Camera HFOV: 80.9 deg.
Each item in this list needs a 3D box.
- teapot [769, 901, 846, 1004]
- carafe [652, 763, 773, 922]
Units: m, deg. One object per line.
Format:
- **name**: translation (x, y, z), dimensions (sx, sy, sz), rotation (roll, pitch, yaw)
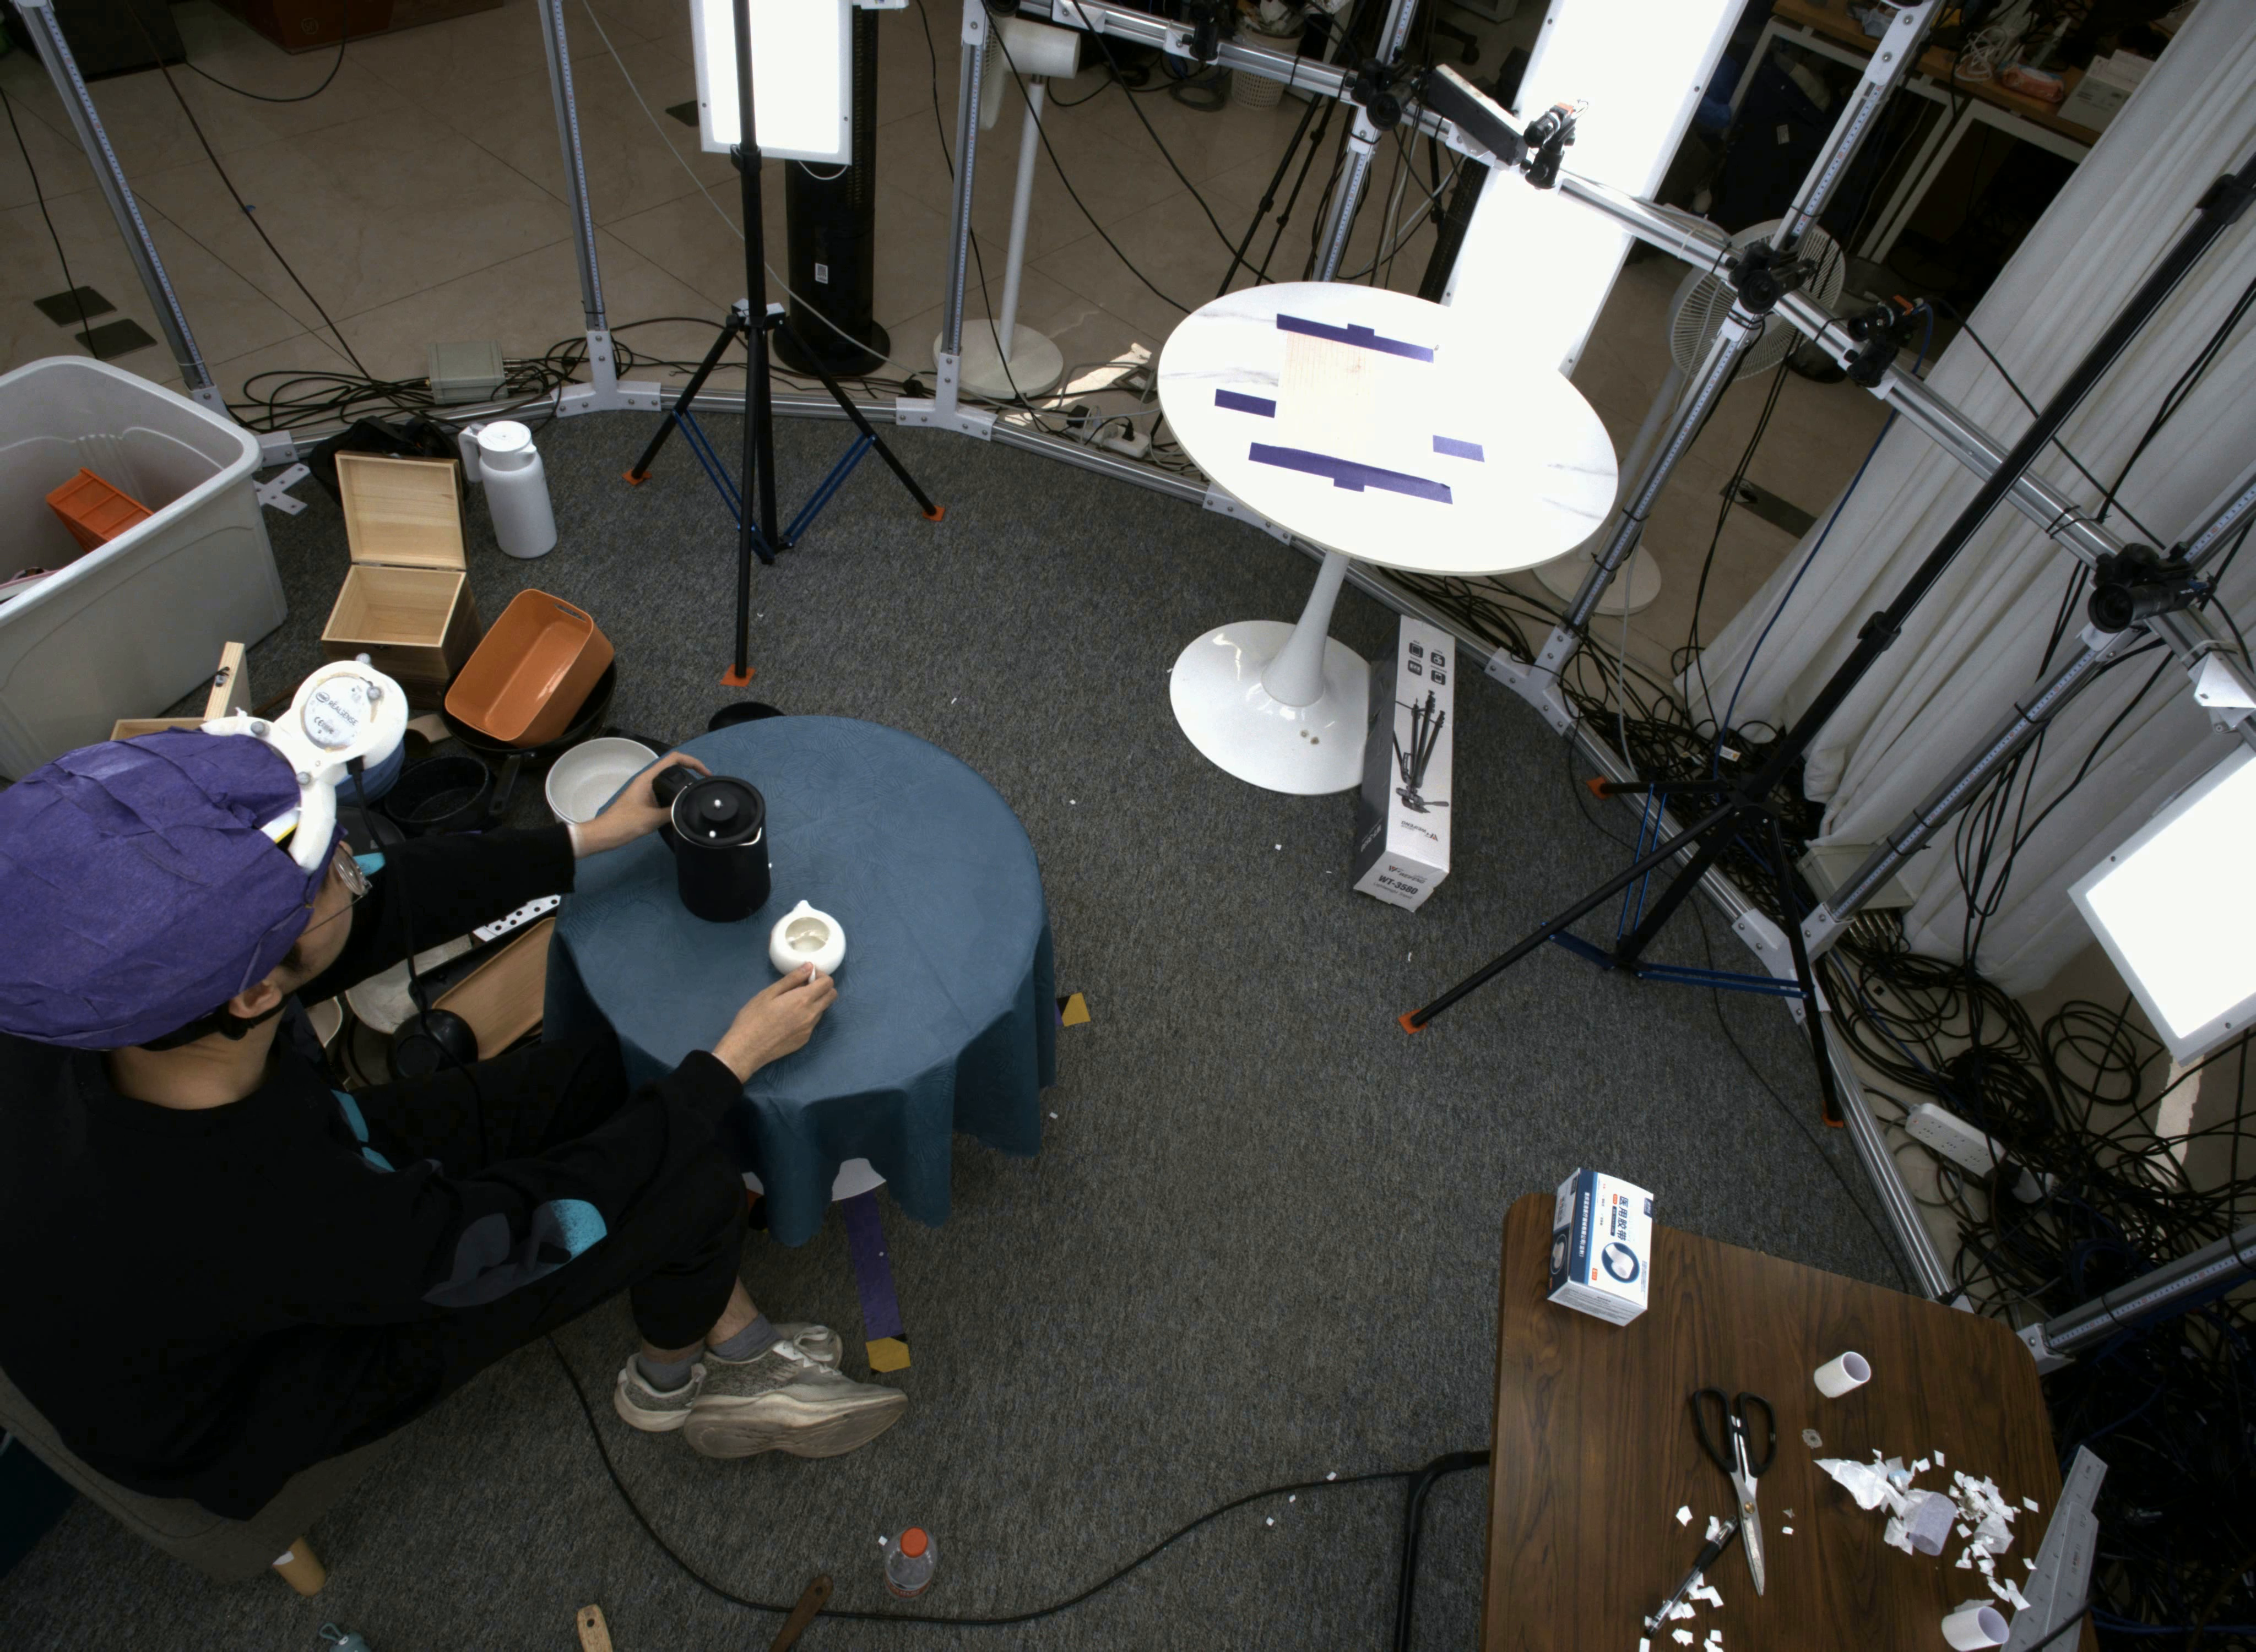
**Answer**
- **teapot**: translation (-0.391, 0.154, 1.590), dimensions (0.094, 0.057, 0.124), rotation (-9, 57, -24)
- **carafe**: translation (-0.516, 0.011, 1.587), dimensions (0.169, 0.176, 0.114), rotation (35, 55, 11)
